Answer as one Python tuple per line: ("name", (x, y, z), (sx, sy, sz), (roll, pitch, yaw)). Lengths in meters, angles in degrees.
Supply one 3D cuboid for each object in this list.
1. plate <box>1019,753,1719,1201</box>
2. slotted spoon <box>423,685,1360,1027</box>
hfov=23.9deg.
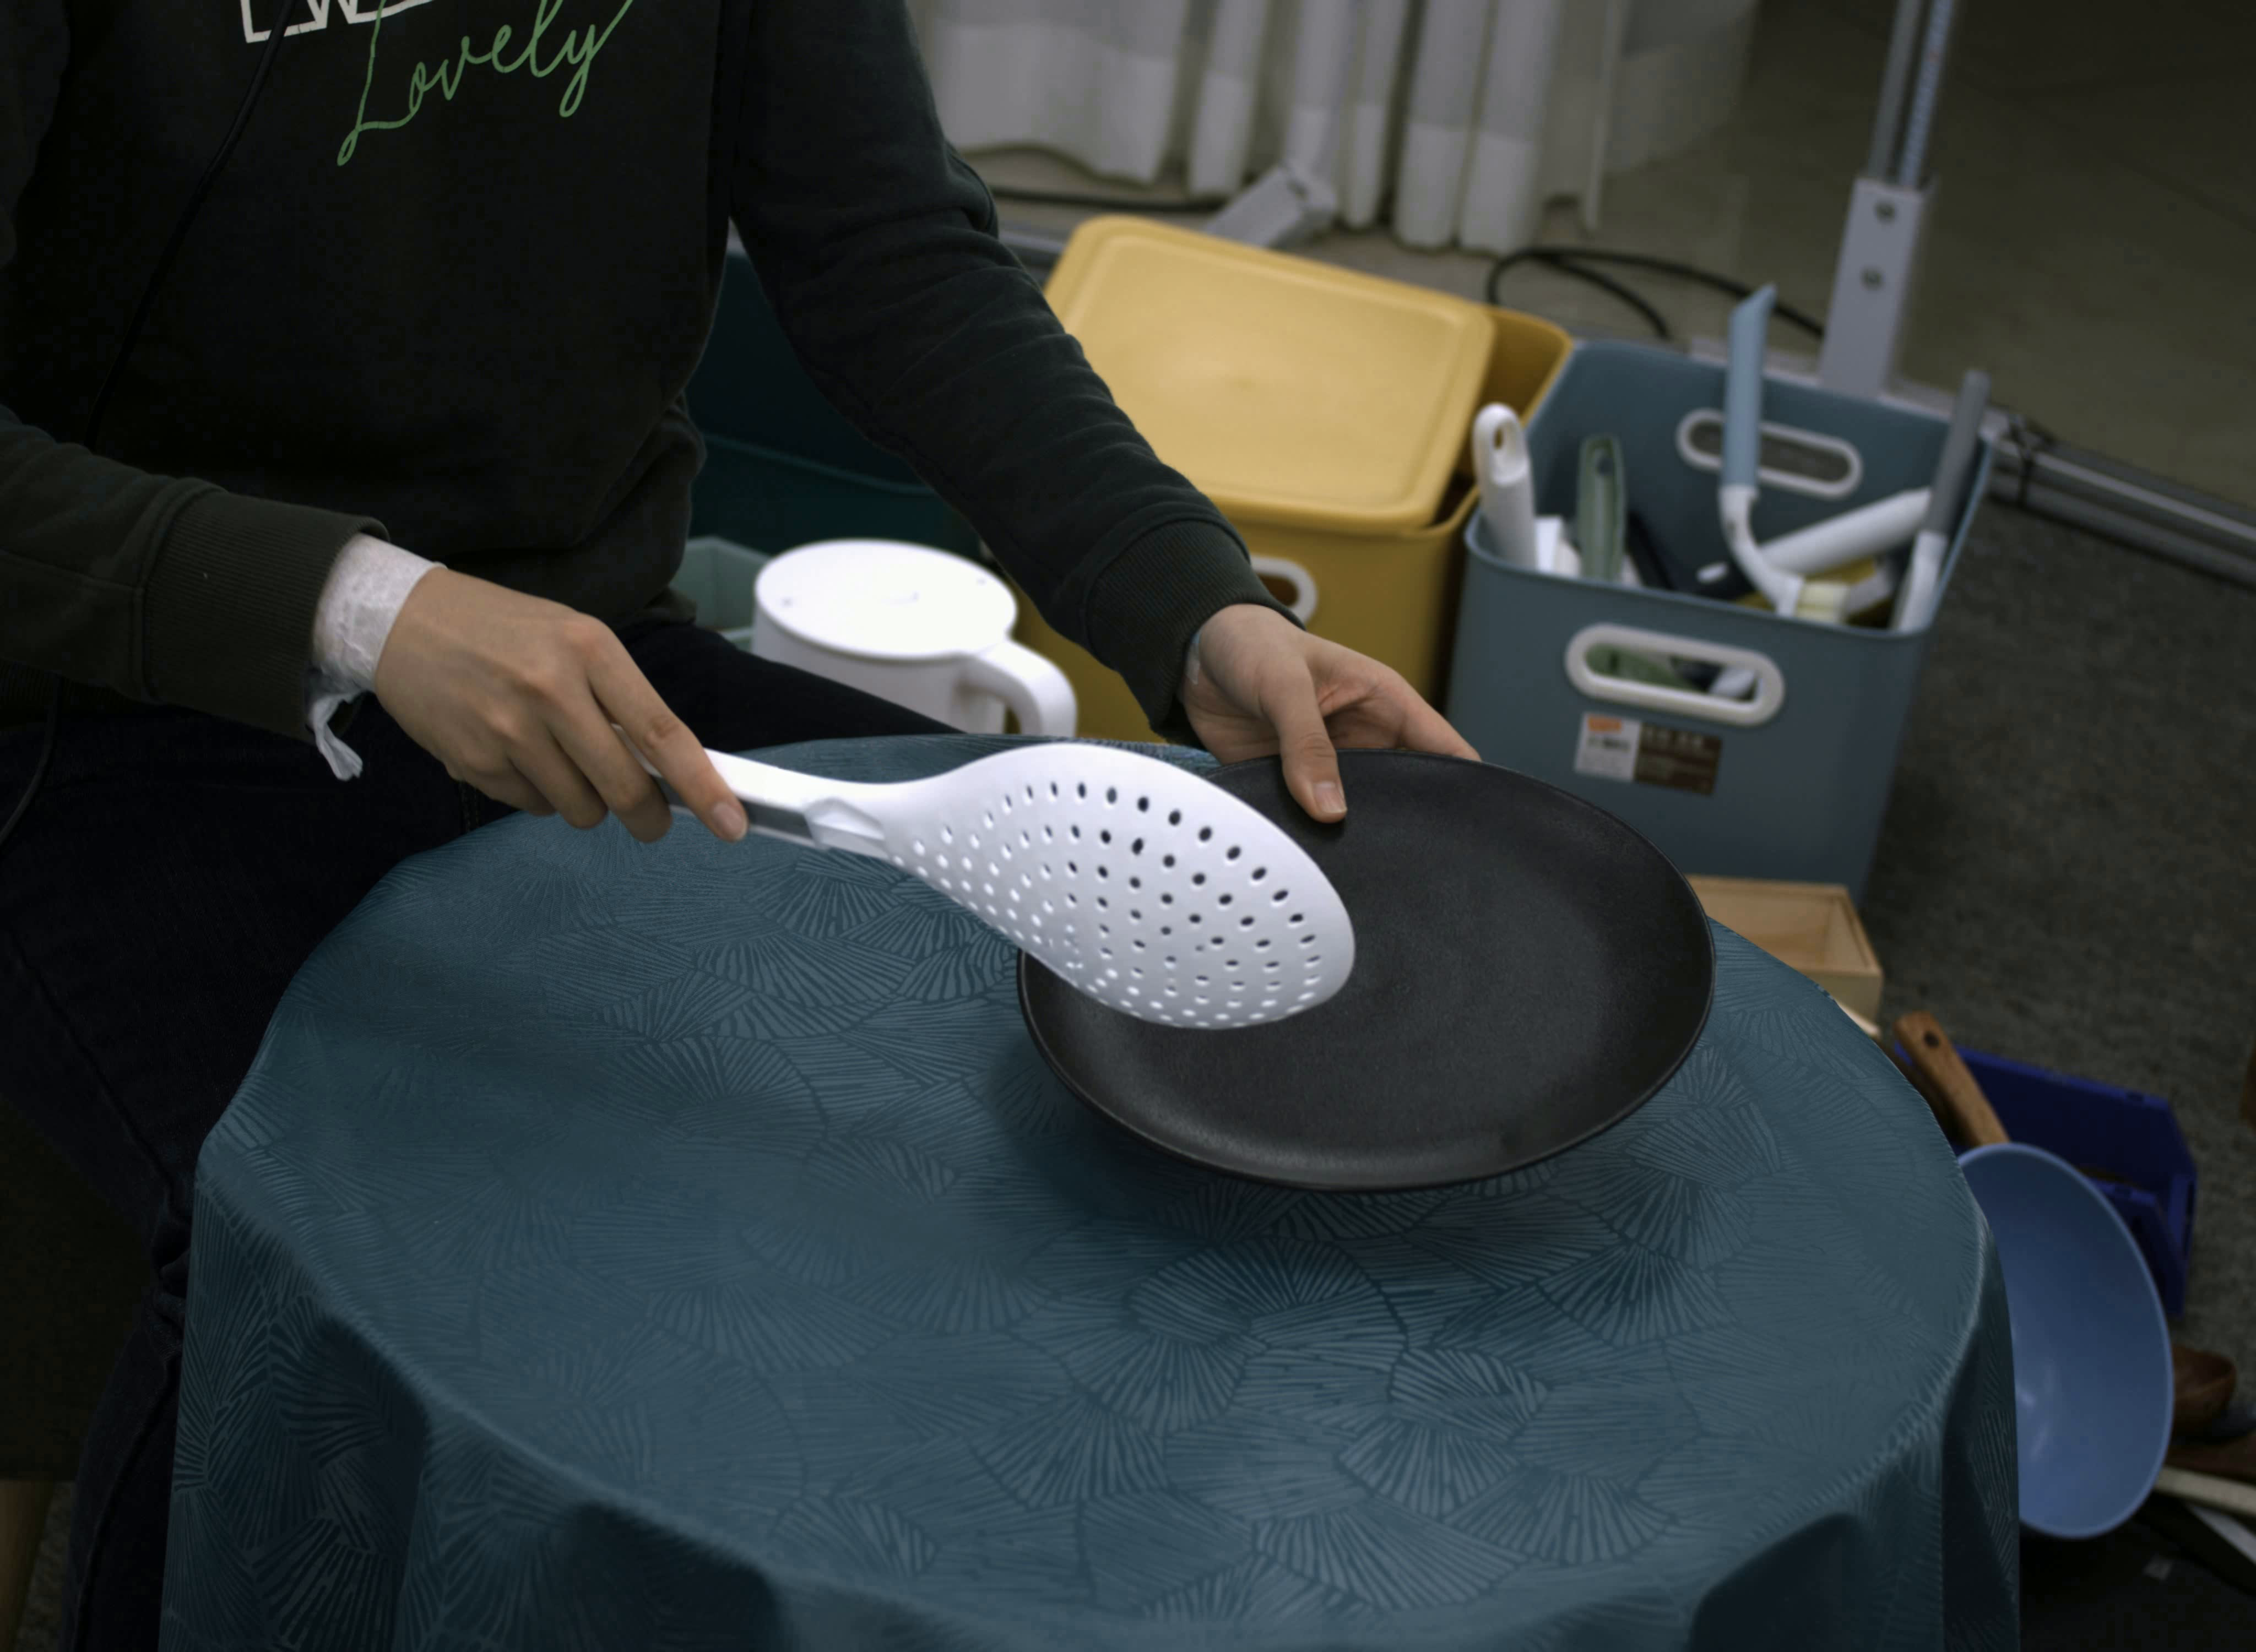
("plate", (0.084, 0.054, 1.850), (0.244, 0.023, 0.246), (-2, 37, 1))
("slotted spoon", (-0.086, -0.001, 1.768), (0.351, 0.135, 0.046), (18, 56, 28))
